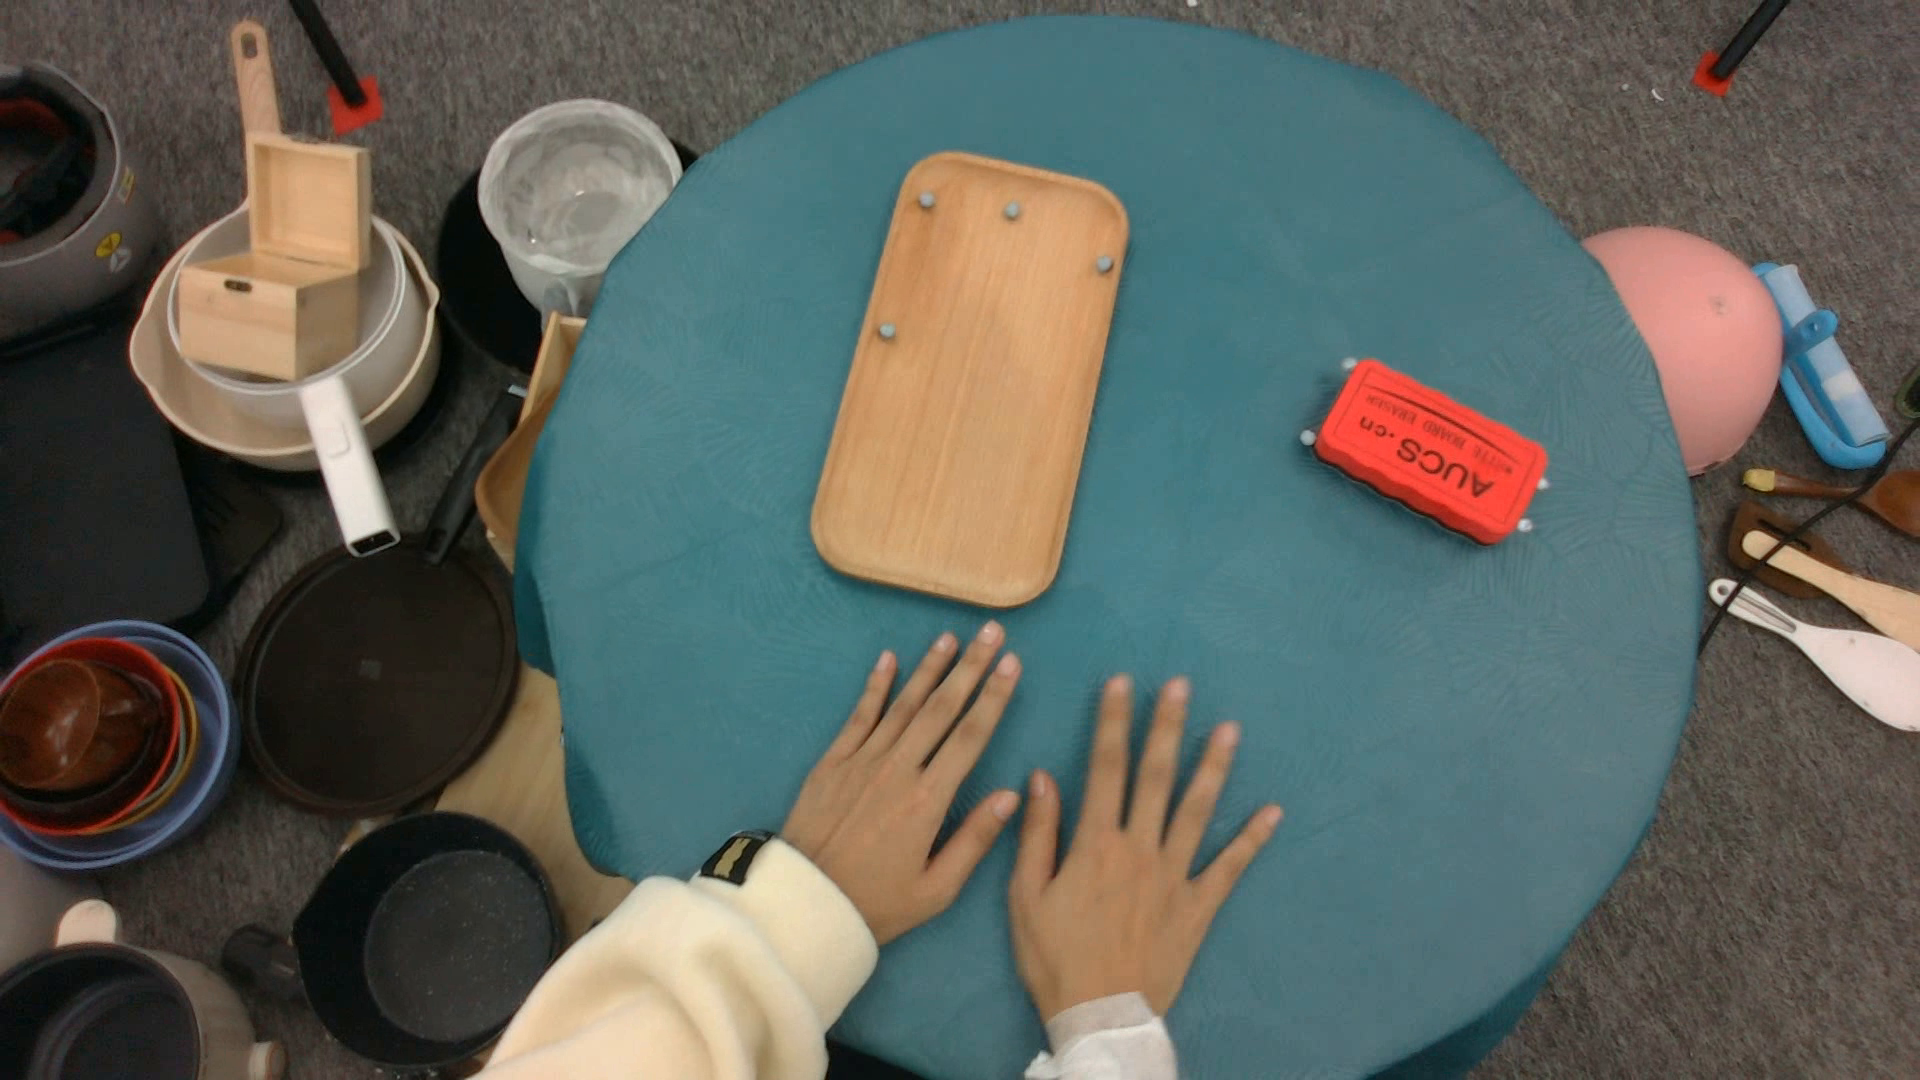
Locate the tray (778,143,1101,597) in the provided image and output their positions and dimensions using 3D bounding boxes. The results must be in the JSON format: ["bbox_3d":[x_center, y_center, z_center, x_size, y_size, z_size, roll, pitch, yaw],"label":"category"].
[{"bbox_3d":[-0.007,-0.094,0.720,0.130,0.023,0.251,12,70,3],"label":"tray"}]

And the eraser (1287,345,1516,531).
[{"bbox_3d":[0.230,-0.054,0.719,0.108,0.023,0.059,29,70,7],"label":"eraser"}]
